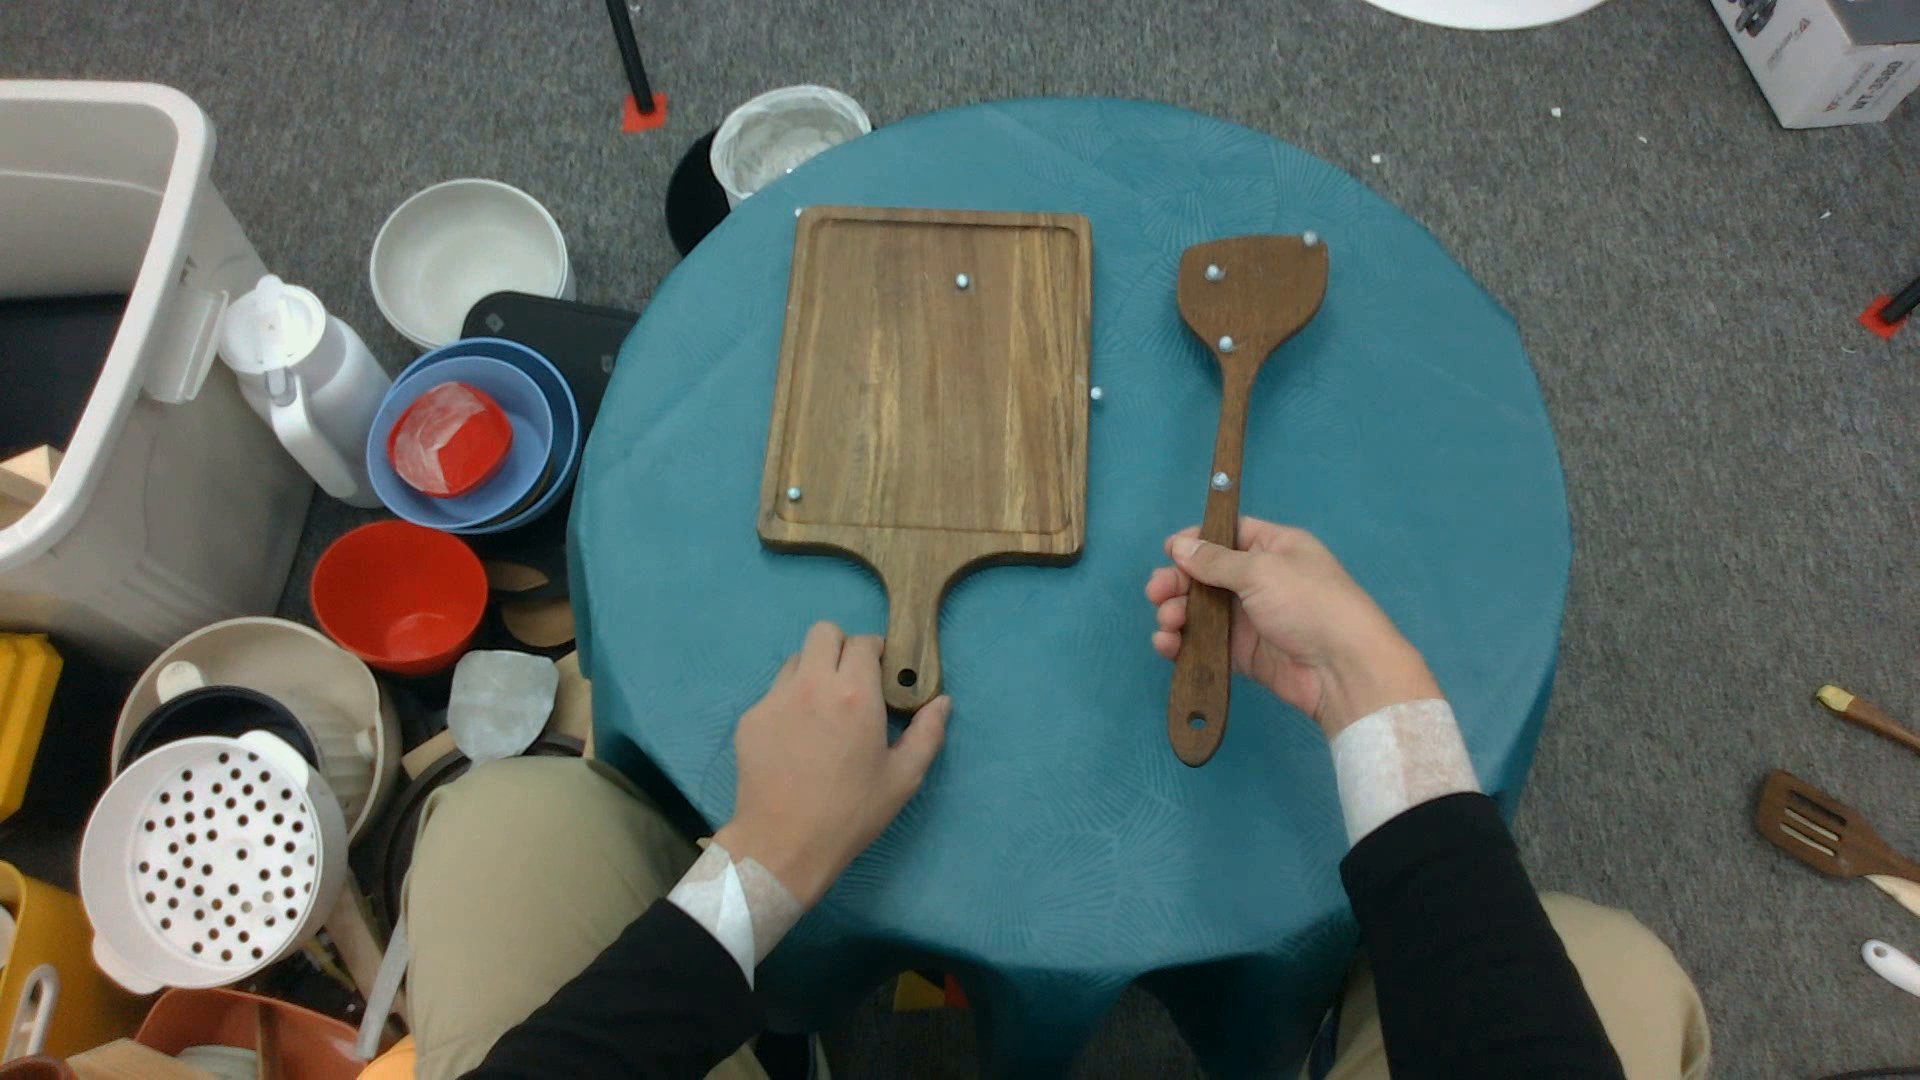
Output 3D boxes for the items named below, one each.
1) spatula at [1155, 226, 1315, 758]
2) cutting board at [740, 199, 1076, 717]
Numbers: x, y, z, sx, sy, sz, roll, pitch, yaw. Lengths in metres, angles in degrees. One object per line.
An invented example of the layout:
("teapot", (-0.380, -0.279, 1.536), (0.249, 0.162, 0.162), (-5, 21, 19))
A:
("spatula", (0.145, -0.049, 0.782), (0.096, 0.016, 0.388), (0, 52, 18))
("cutting board", (-0.030, -0.063, 0.841), (0.201, 0.023, 0.353), (2, 65, 2))
